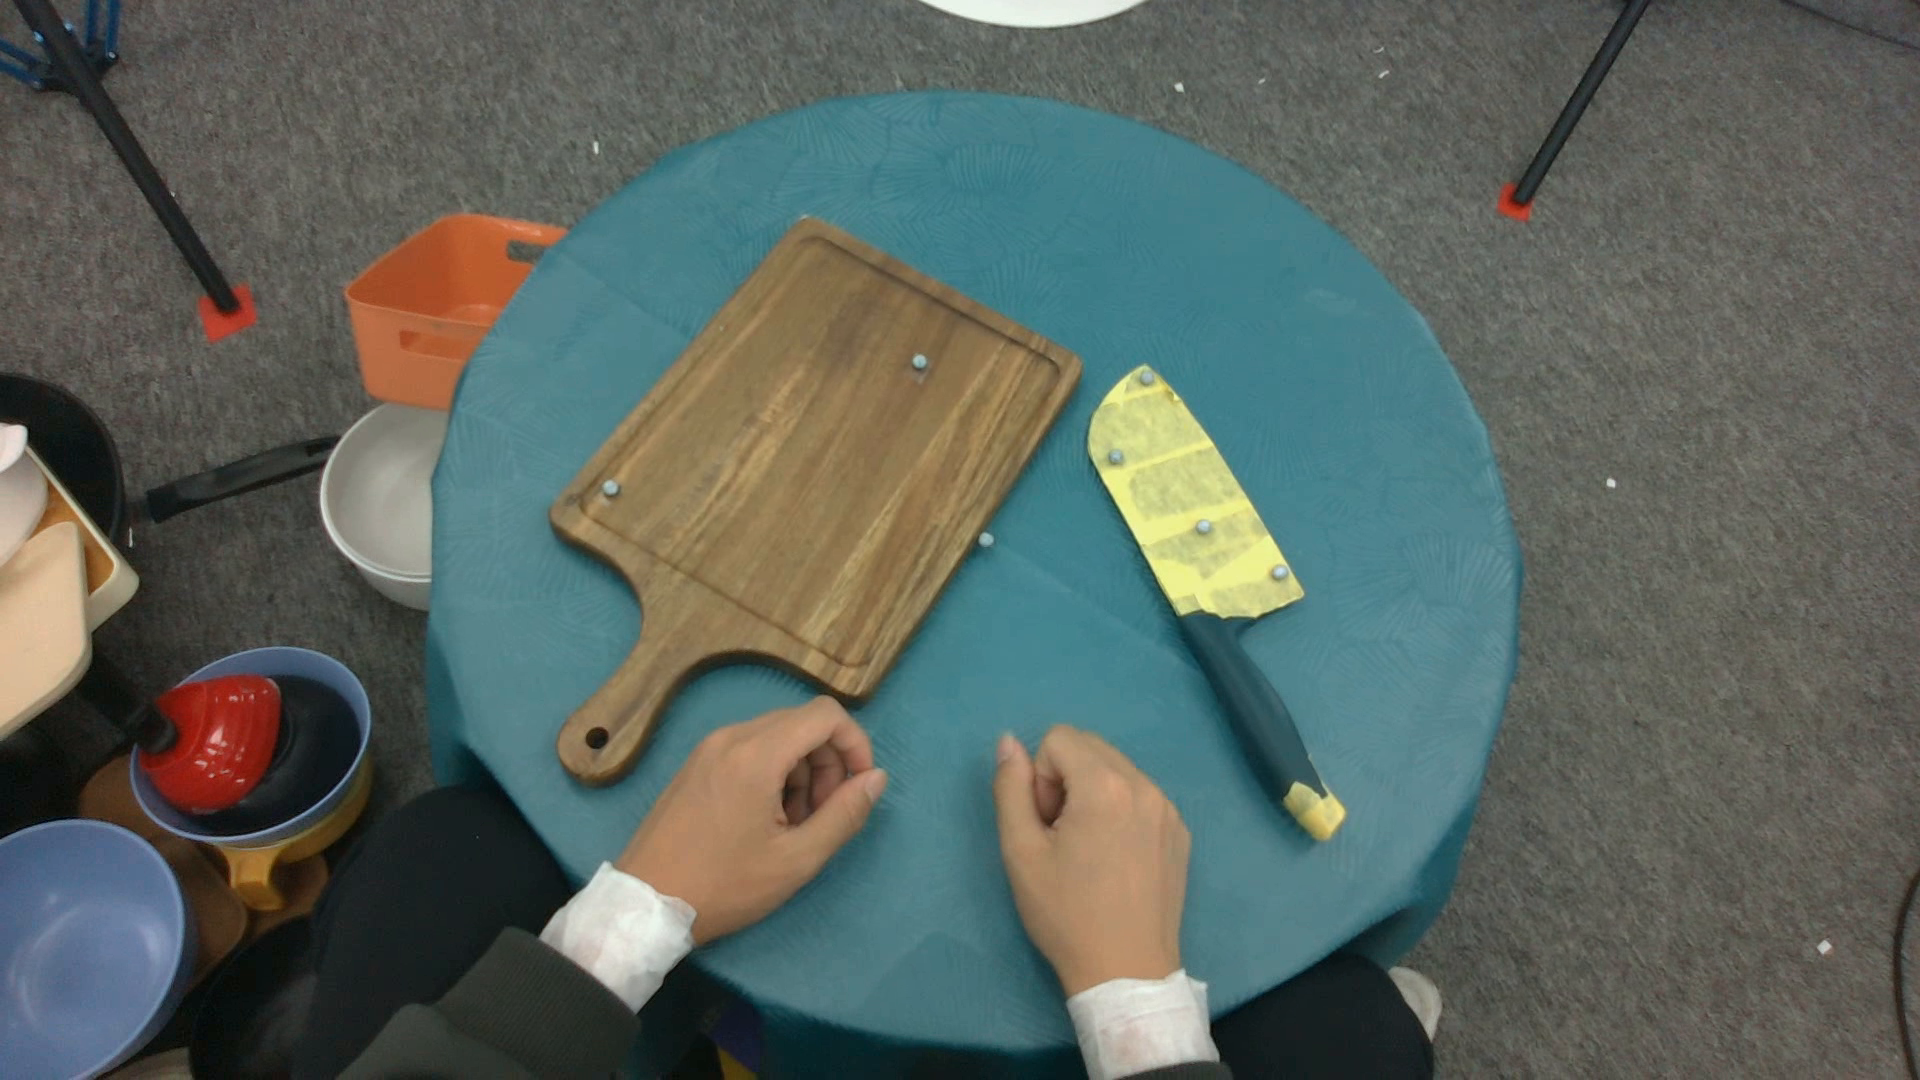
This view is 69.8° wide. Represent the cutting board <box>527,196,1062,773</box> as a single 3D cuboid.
[{"bbox_3d":[-0.107,-0.028,0.735,0.201,0.023,0.353,28,63,8],"label":"cutting board"}]

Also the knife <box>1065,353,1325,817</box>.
[{"bbox_3d":[0.133,0.012,0.749,0.081,0.027,0.290,-16,65,-13],"label":"knife"}]
